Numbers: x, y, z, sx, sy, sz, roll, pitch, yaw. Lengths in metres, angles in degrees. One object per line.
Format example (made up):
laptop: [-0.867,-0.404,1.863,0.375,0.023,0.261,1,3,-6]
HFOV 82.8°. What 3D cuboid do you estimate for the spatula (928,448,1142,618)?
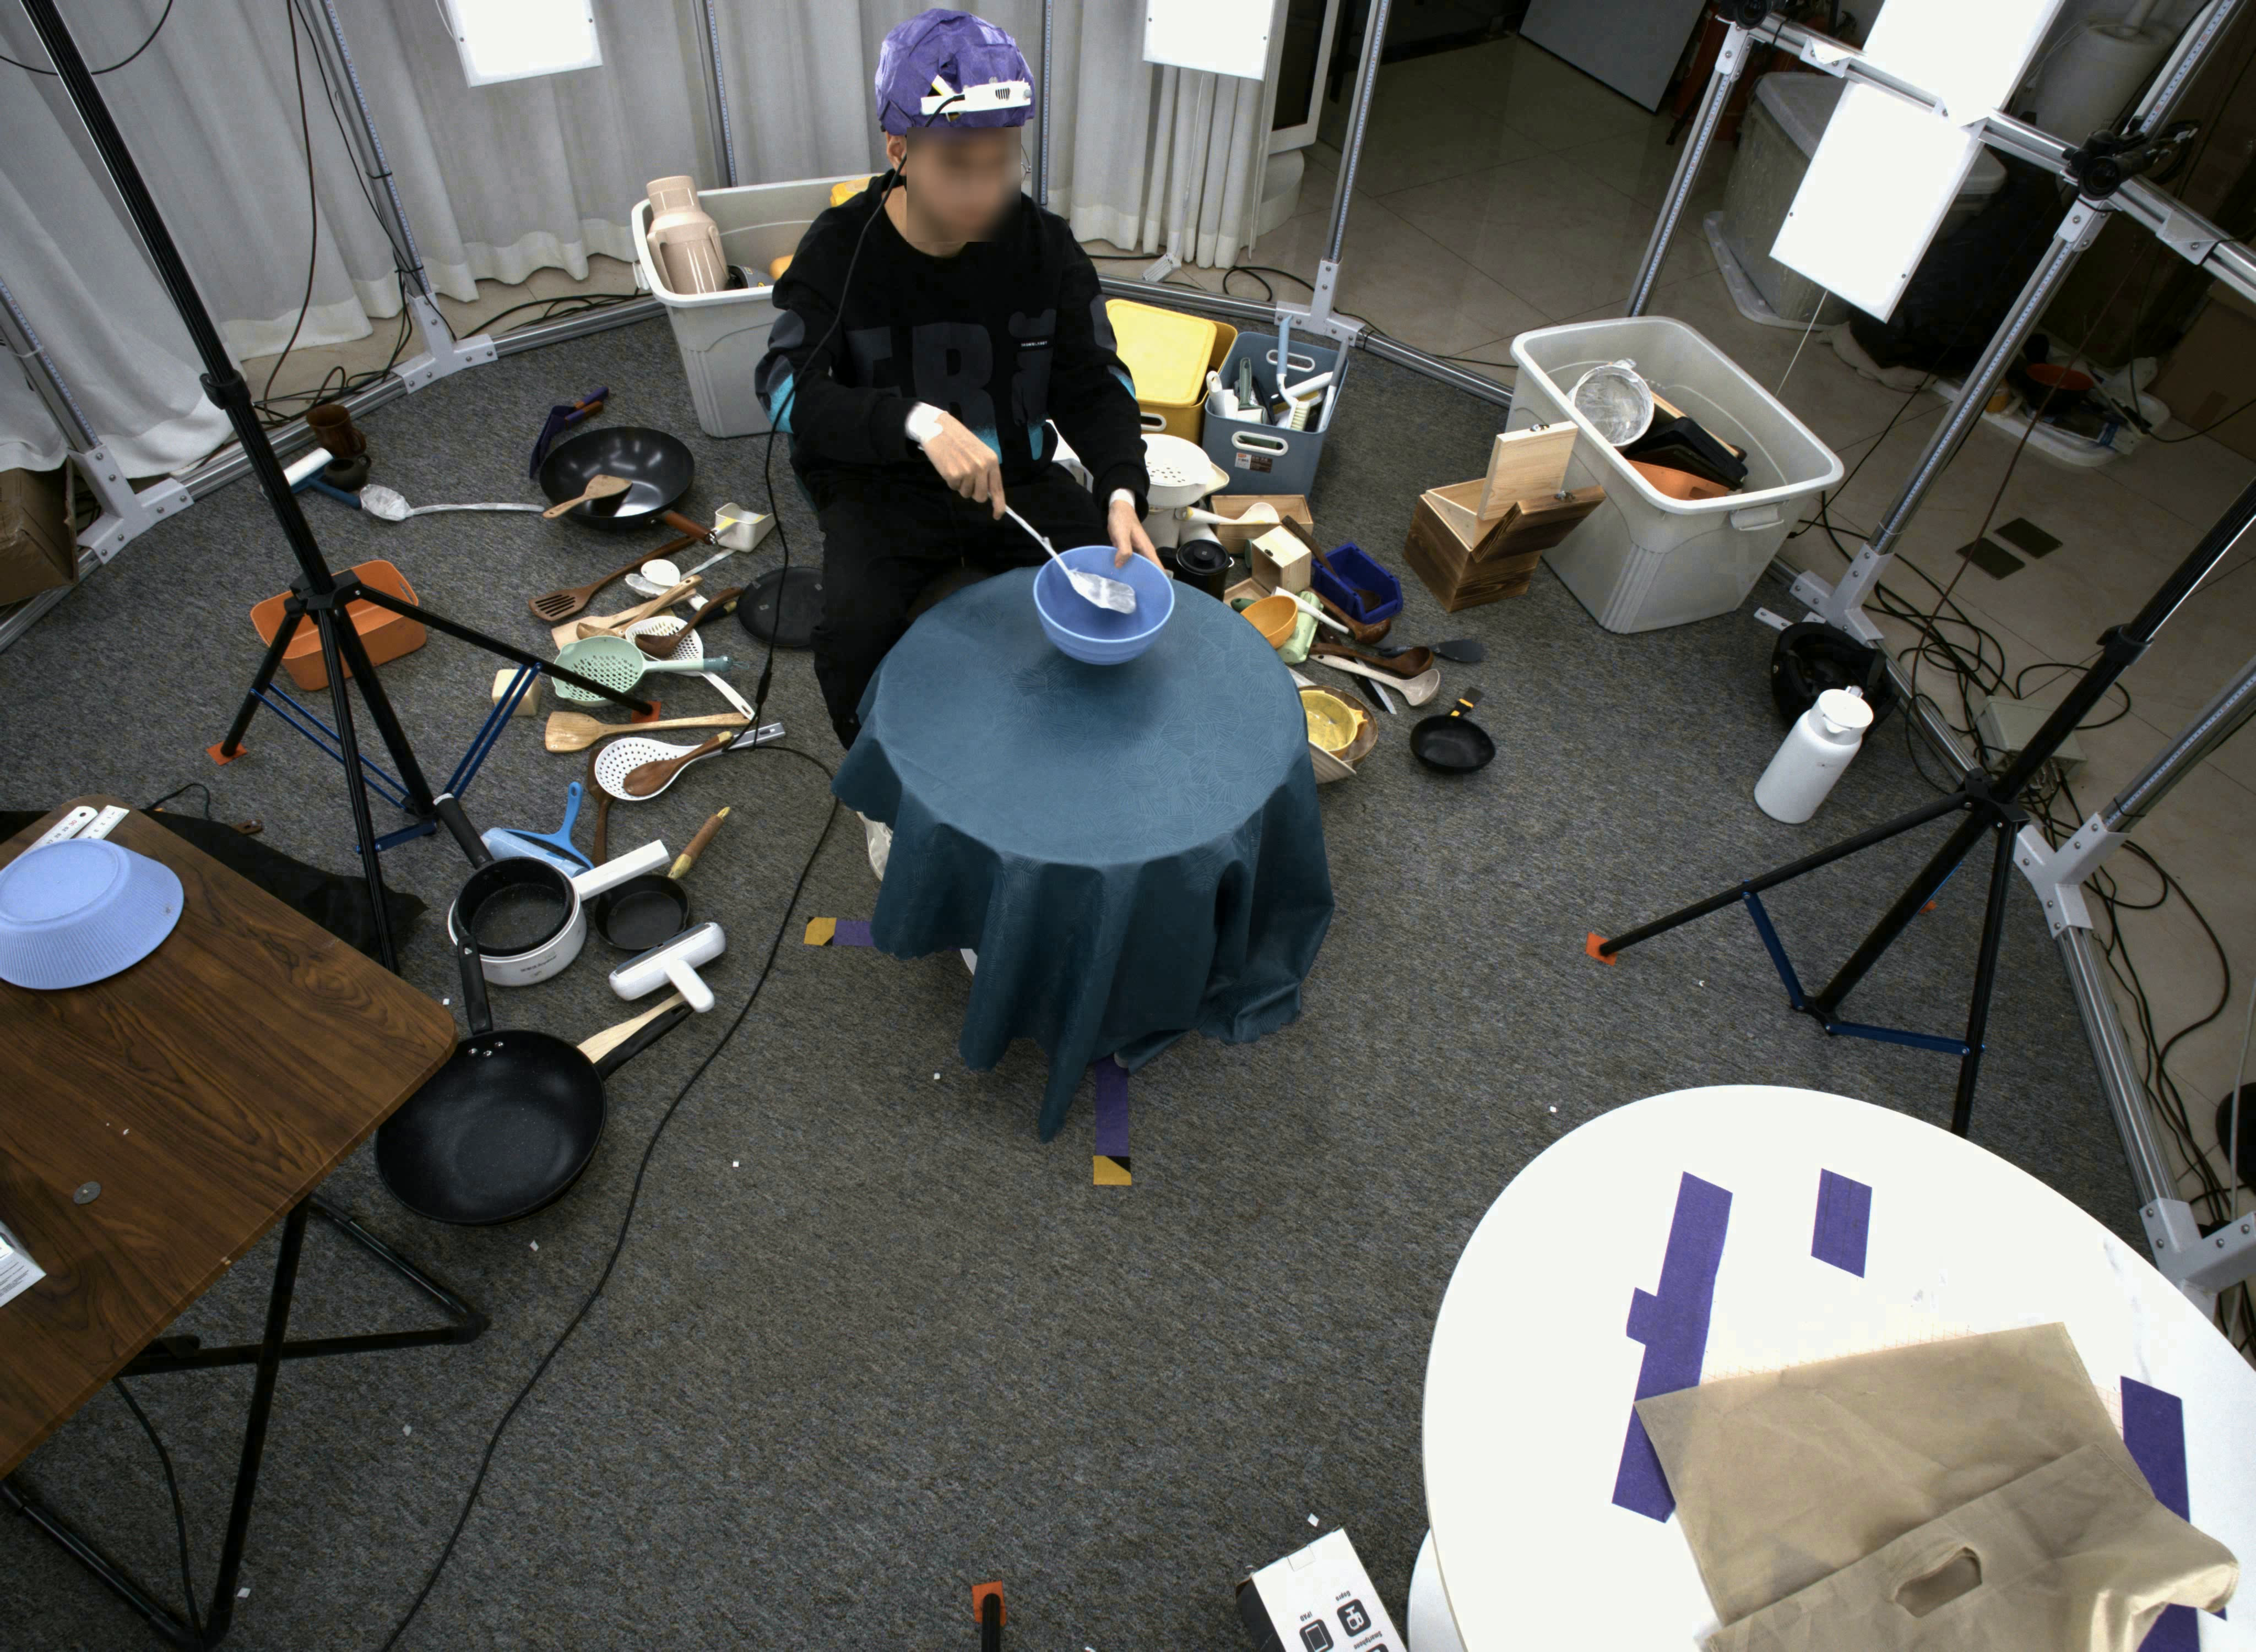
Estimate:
spatula: [-0.126,-0.409,1.798,0.360,0.044,0.101,40,28,-20]

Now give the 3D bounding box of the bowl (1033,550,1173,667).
bowl: [-0.037,-0.295,1.833,0.196,0.093,0.201,2,50,-3]
